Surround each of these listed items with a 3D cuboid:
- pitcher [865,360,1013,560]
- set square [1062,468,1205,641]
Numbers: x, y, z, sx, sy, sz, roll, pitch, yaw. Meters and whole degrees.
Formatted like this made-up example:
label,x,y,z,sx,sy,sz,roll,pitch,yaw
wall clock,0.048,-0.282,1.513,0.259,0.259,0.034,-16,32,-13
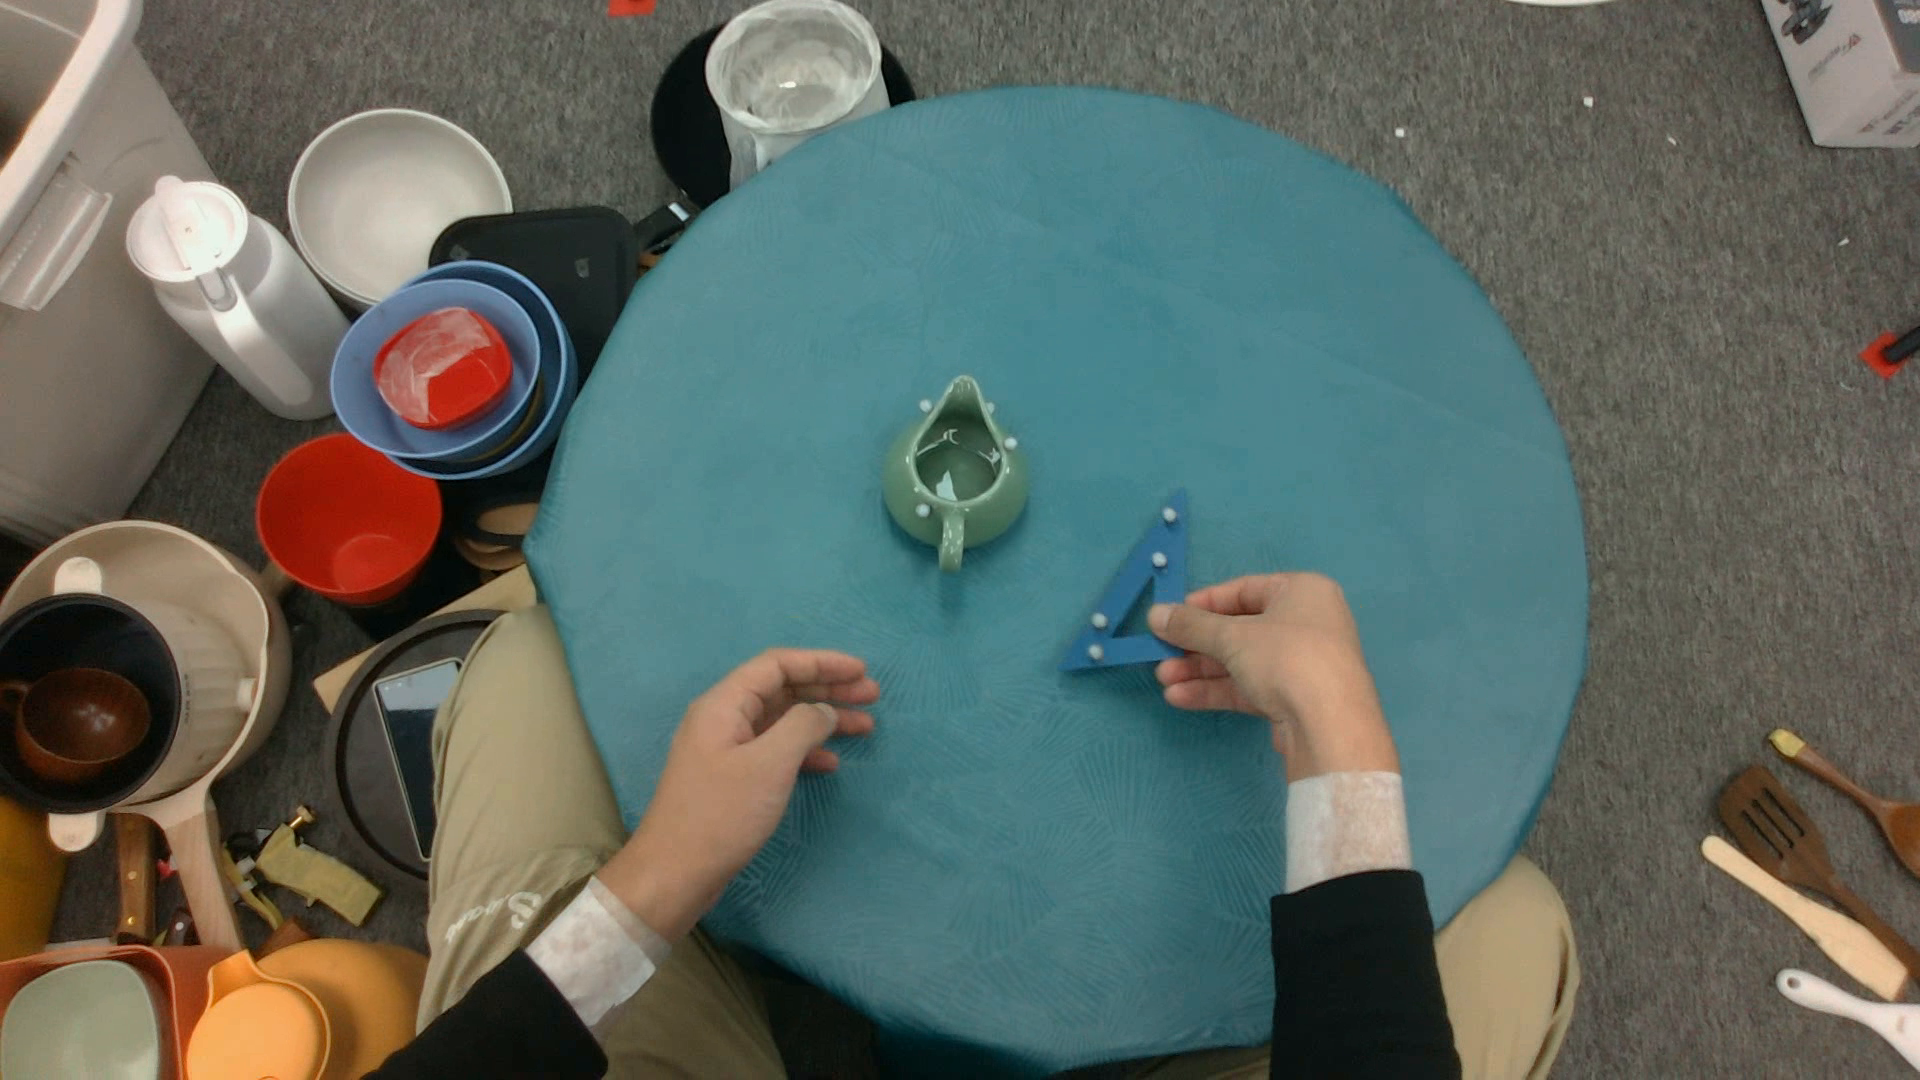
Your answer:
label,x,y,z,sx,sy,sz,roll,pitch,yaw
pitcher,-0.012,-0.039,0.770,0.084,0.056,0.113,2,71,-1
set square,0.114,0.014,0.759,0.061,0.006,0.132,25,67,35
